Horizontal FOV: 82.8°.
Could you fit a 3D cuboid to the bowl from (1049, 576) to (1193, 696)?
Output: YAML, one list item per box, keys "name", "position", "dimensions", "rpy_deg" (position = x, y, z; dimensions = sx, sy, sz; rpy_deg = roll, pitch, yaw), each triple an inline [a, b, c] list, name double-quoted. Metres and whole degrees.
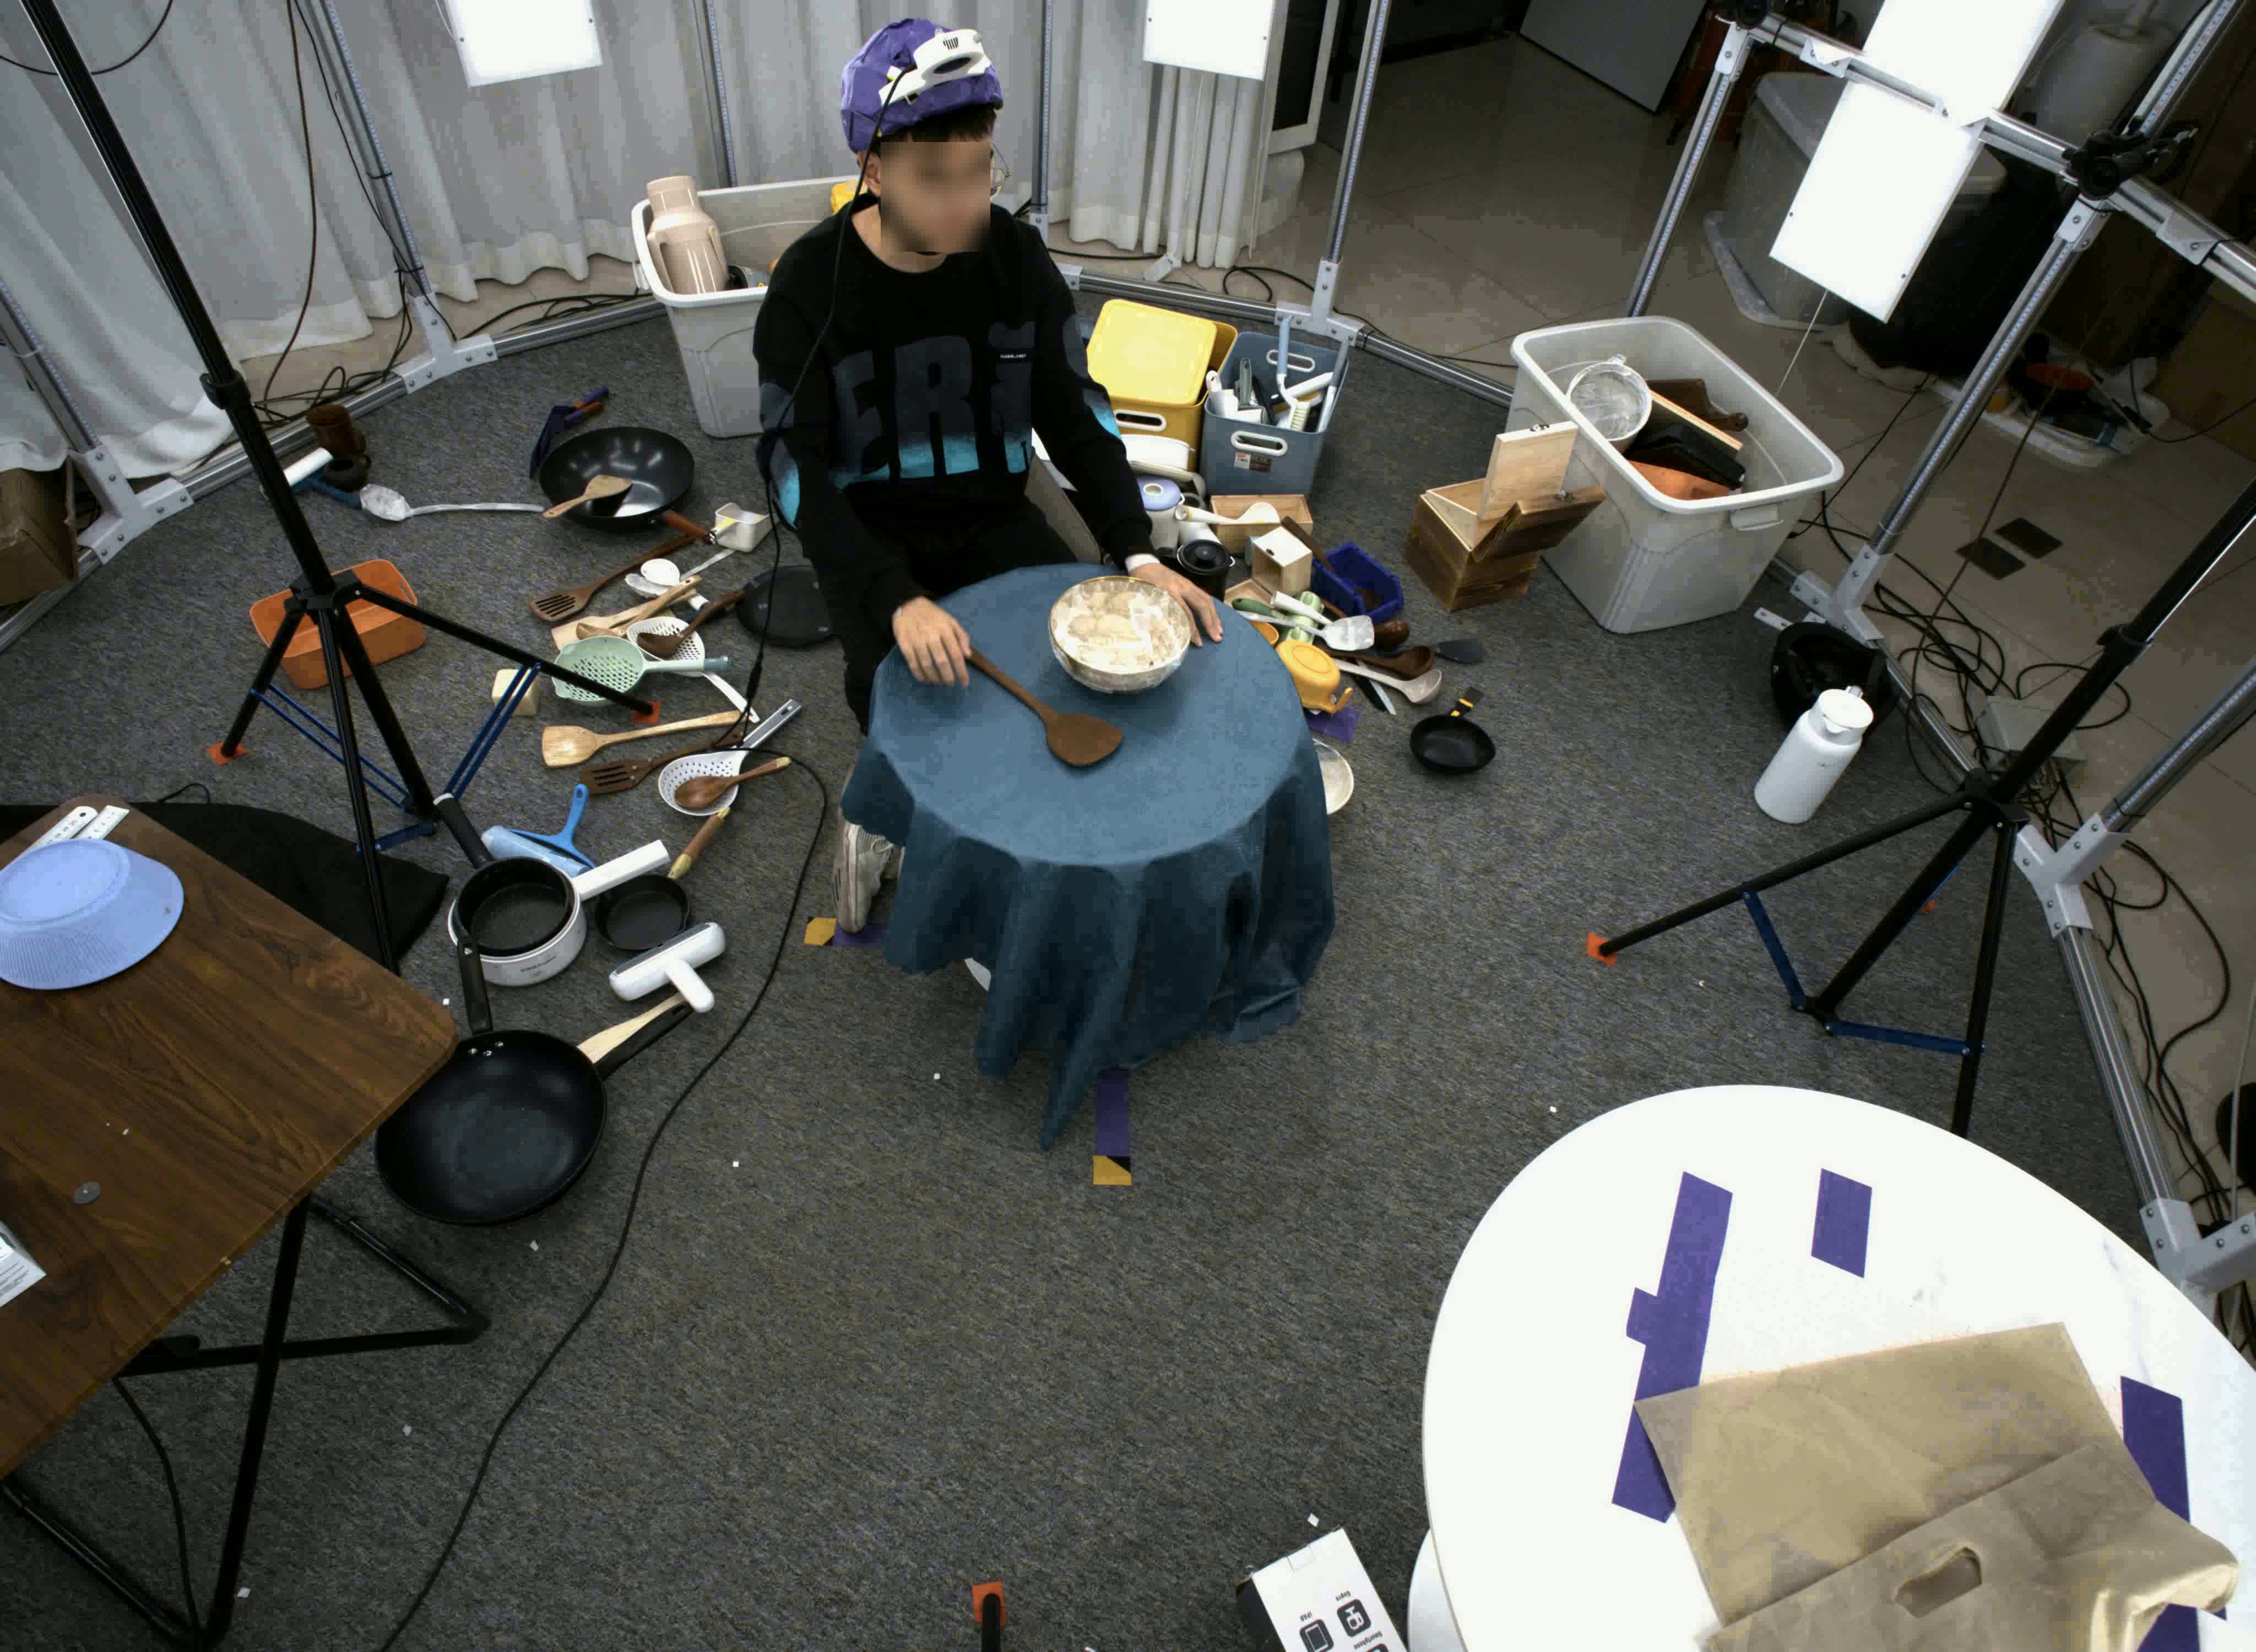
- name: "bowl"
  position: [-0.010, -0.259, 1.848]
  dimensions: [0.214, 0.092, 0.220]
  rpy_deg: [1, 49, -1]

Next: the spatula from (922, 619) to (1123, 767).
- name: "spatula"
  position: [-0.167, -0.201, 1.839]
  dimensions: [0.097, 0.015, 0.392]
  rpy_deg: [-35, 59, -30]
